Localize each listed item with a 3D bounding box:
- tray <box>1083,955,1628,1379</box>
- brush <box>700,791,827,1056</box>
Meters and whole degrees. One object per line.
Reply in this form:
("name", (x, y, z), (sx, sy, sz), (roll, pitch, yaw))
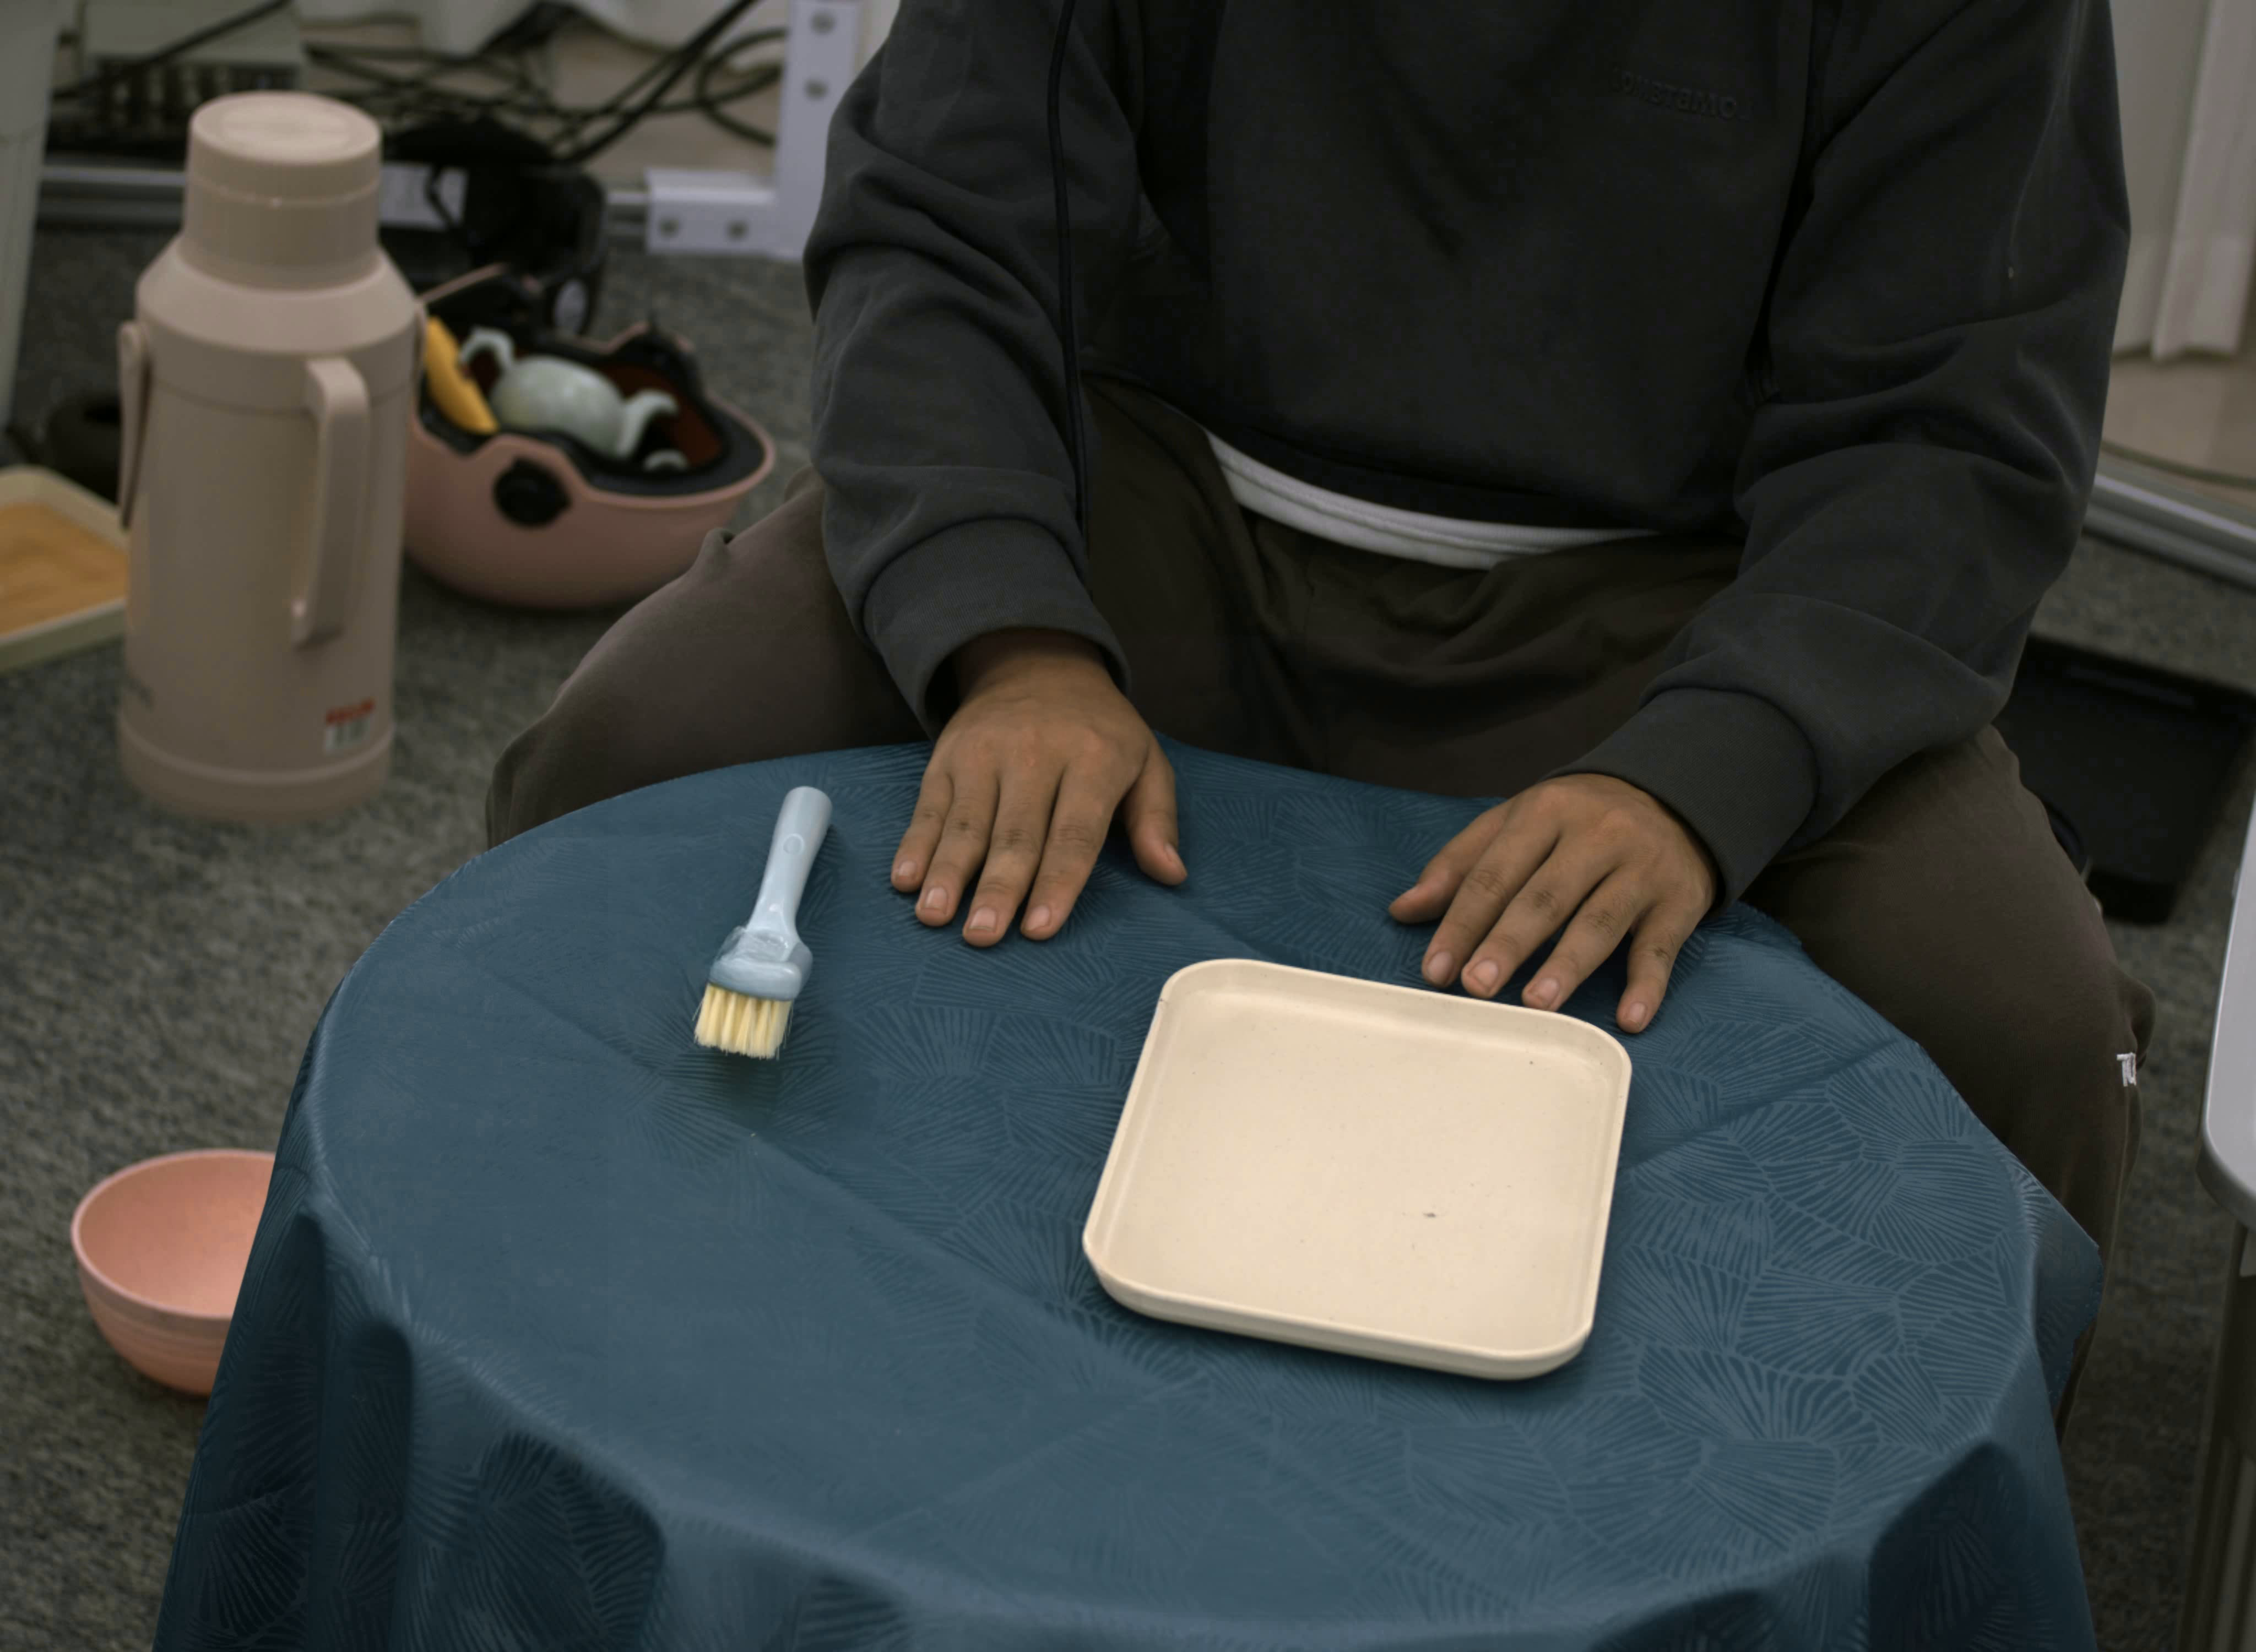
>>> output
("tray", (0.081, 0.115, 1.821), (0.171, 0.017, 0.240), (10, 27, 5))
("brush", (-0.129, 0.035, 1.917), (0.037, 0.049, 0.229), (13, 18, -3))
